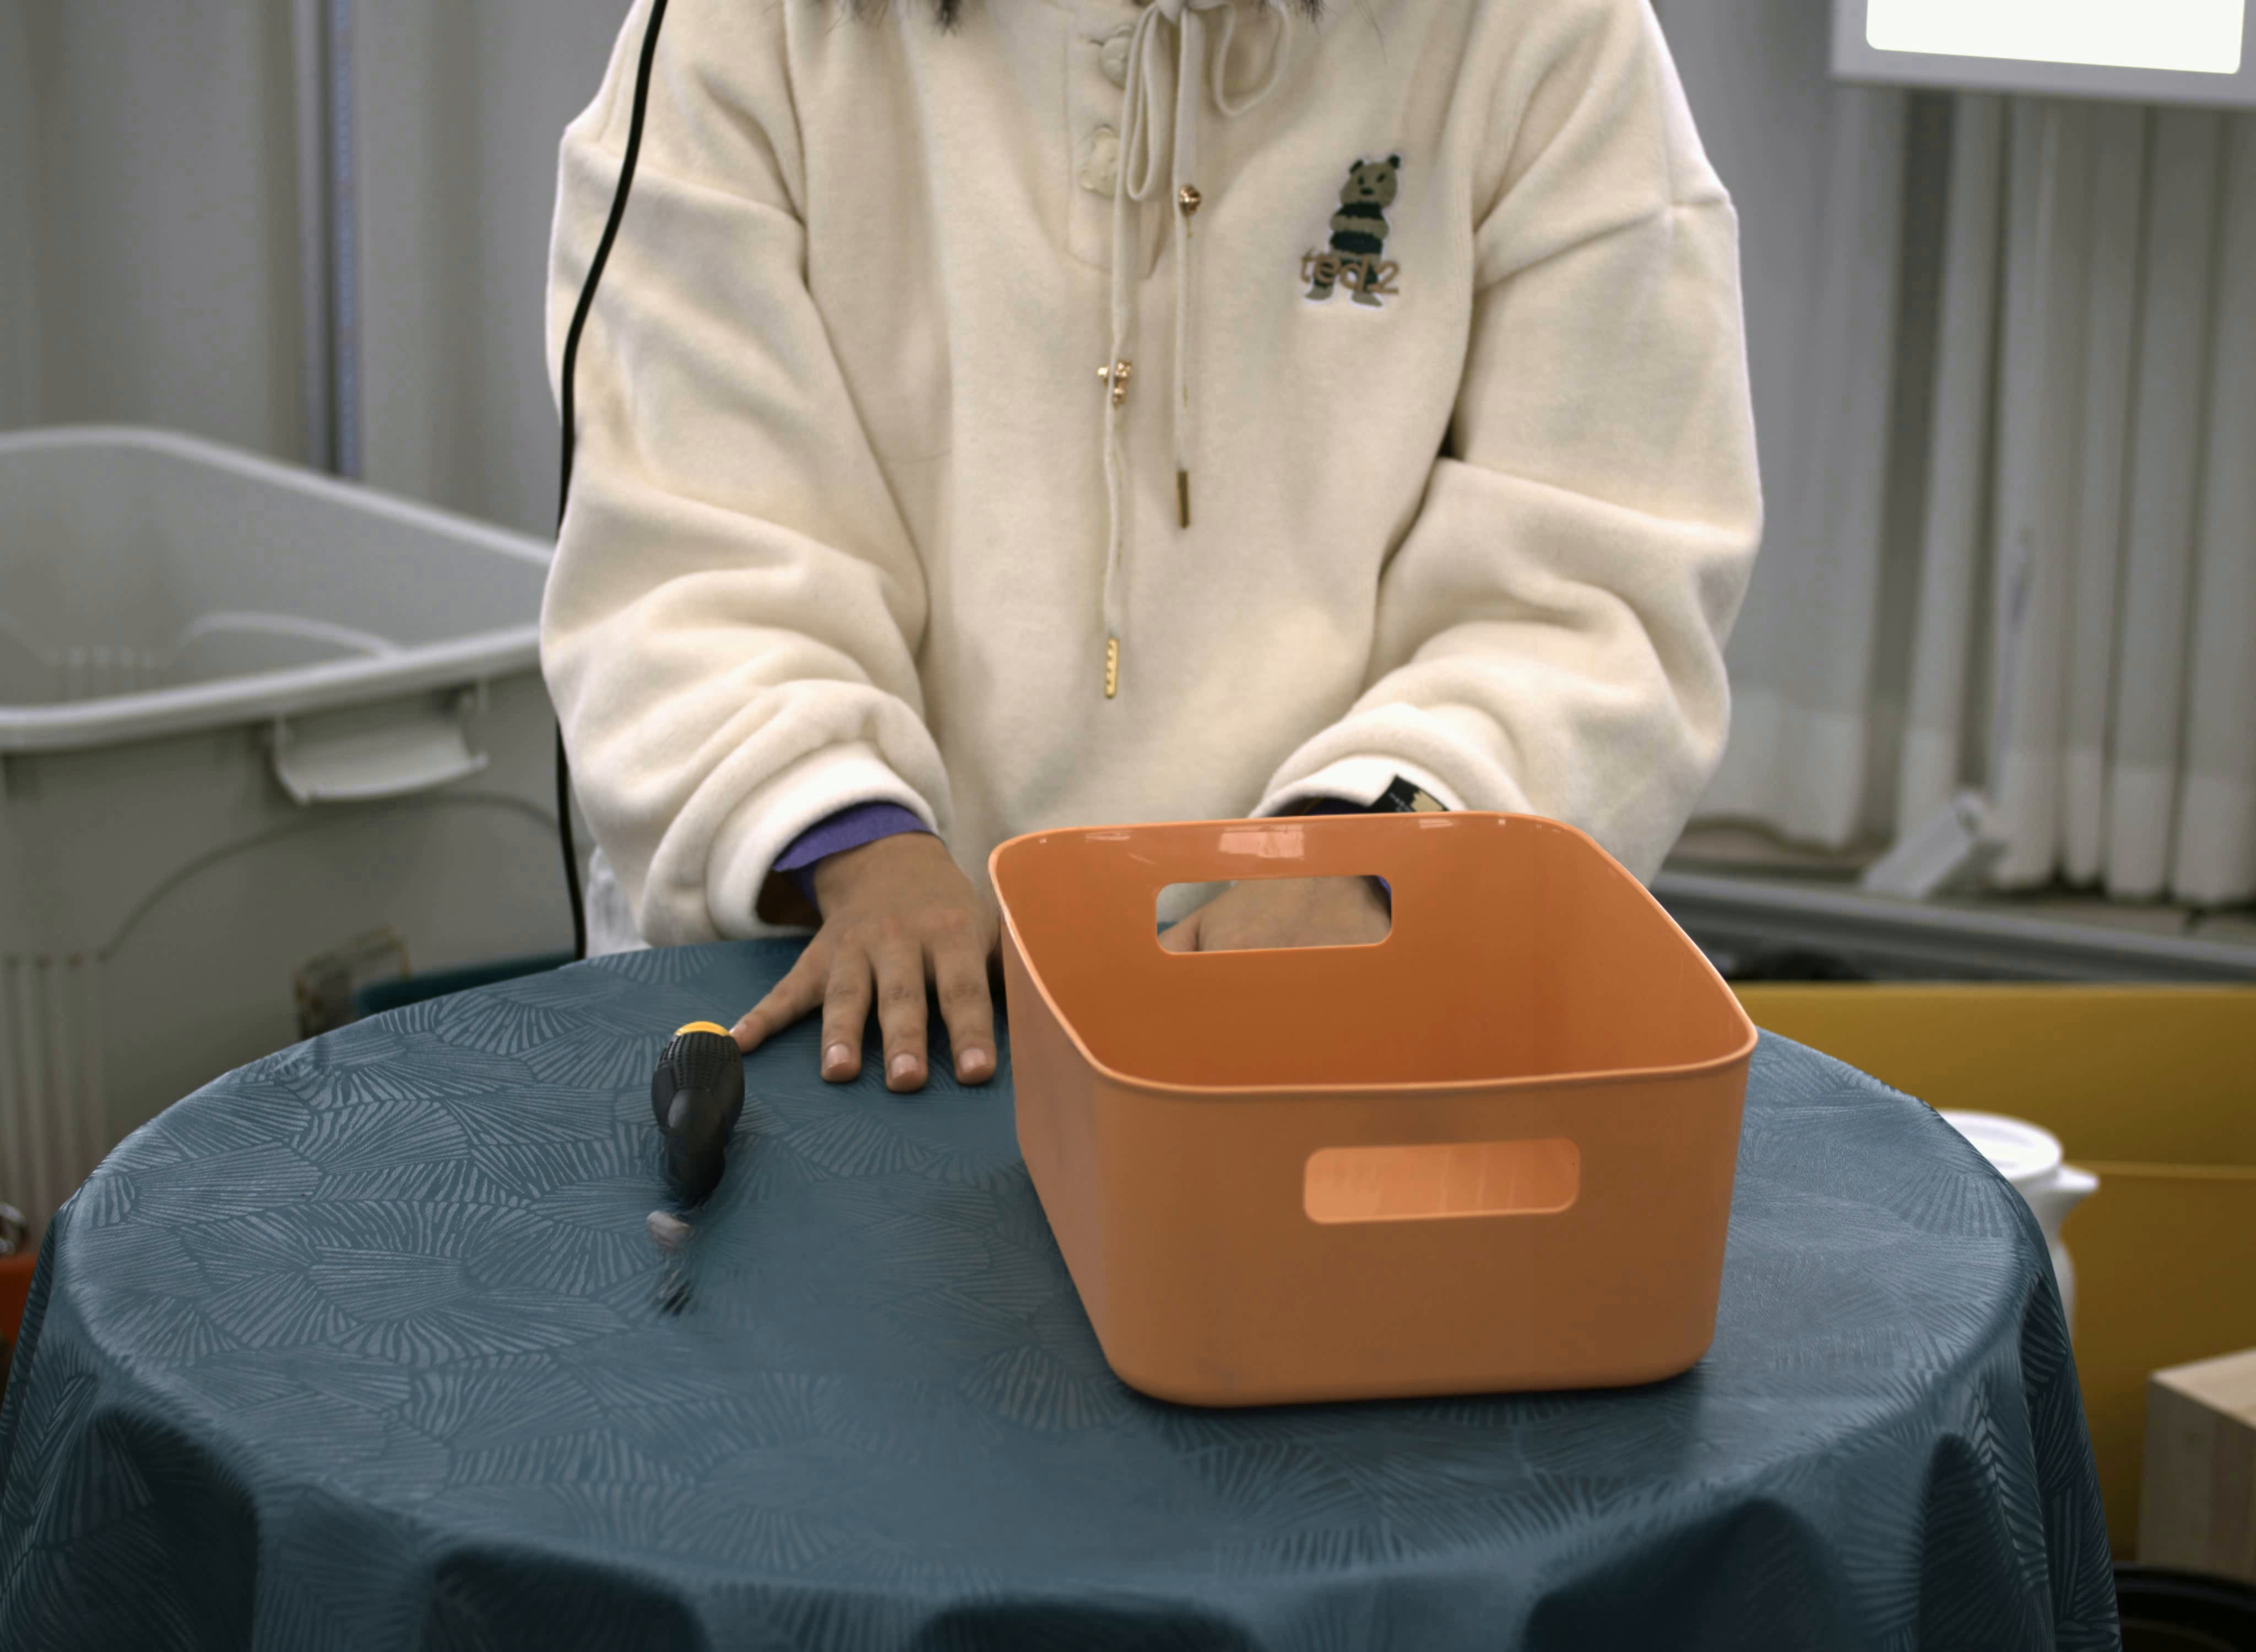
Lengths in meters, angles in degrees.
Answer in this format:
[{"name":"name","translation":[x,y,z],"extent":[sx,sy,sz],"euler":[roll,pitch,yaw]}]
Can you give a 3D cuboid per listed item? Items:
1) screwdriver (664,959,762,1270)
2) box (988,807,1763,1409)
[{"name":"screwdriver","translation":[-0.126,0.090,1.611],"extent":[0.031,0.032,0.196],"euler":[-1,24,-5]},{"name":"box","translation":[0.067,0.079,1.547],"extent":[0.199,0.103,0.271],"euler":[-3,16,-9]}]
